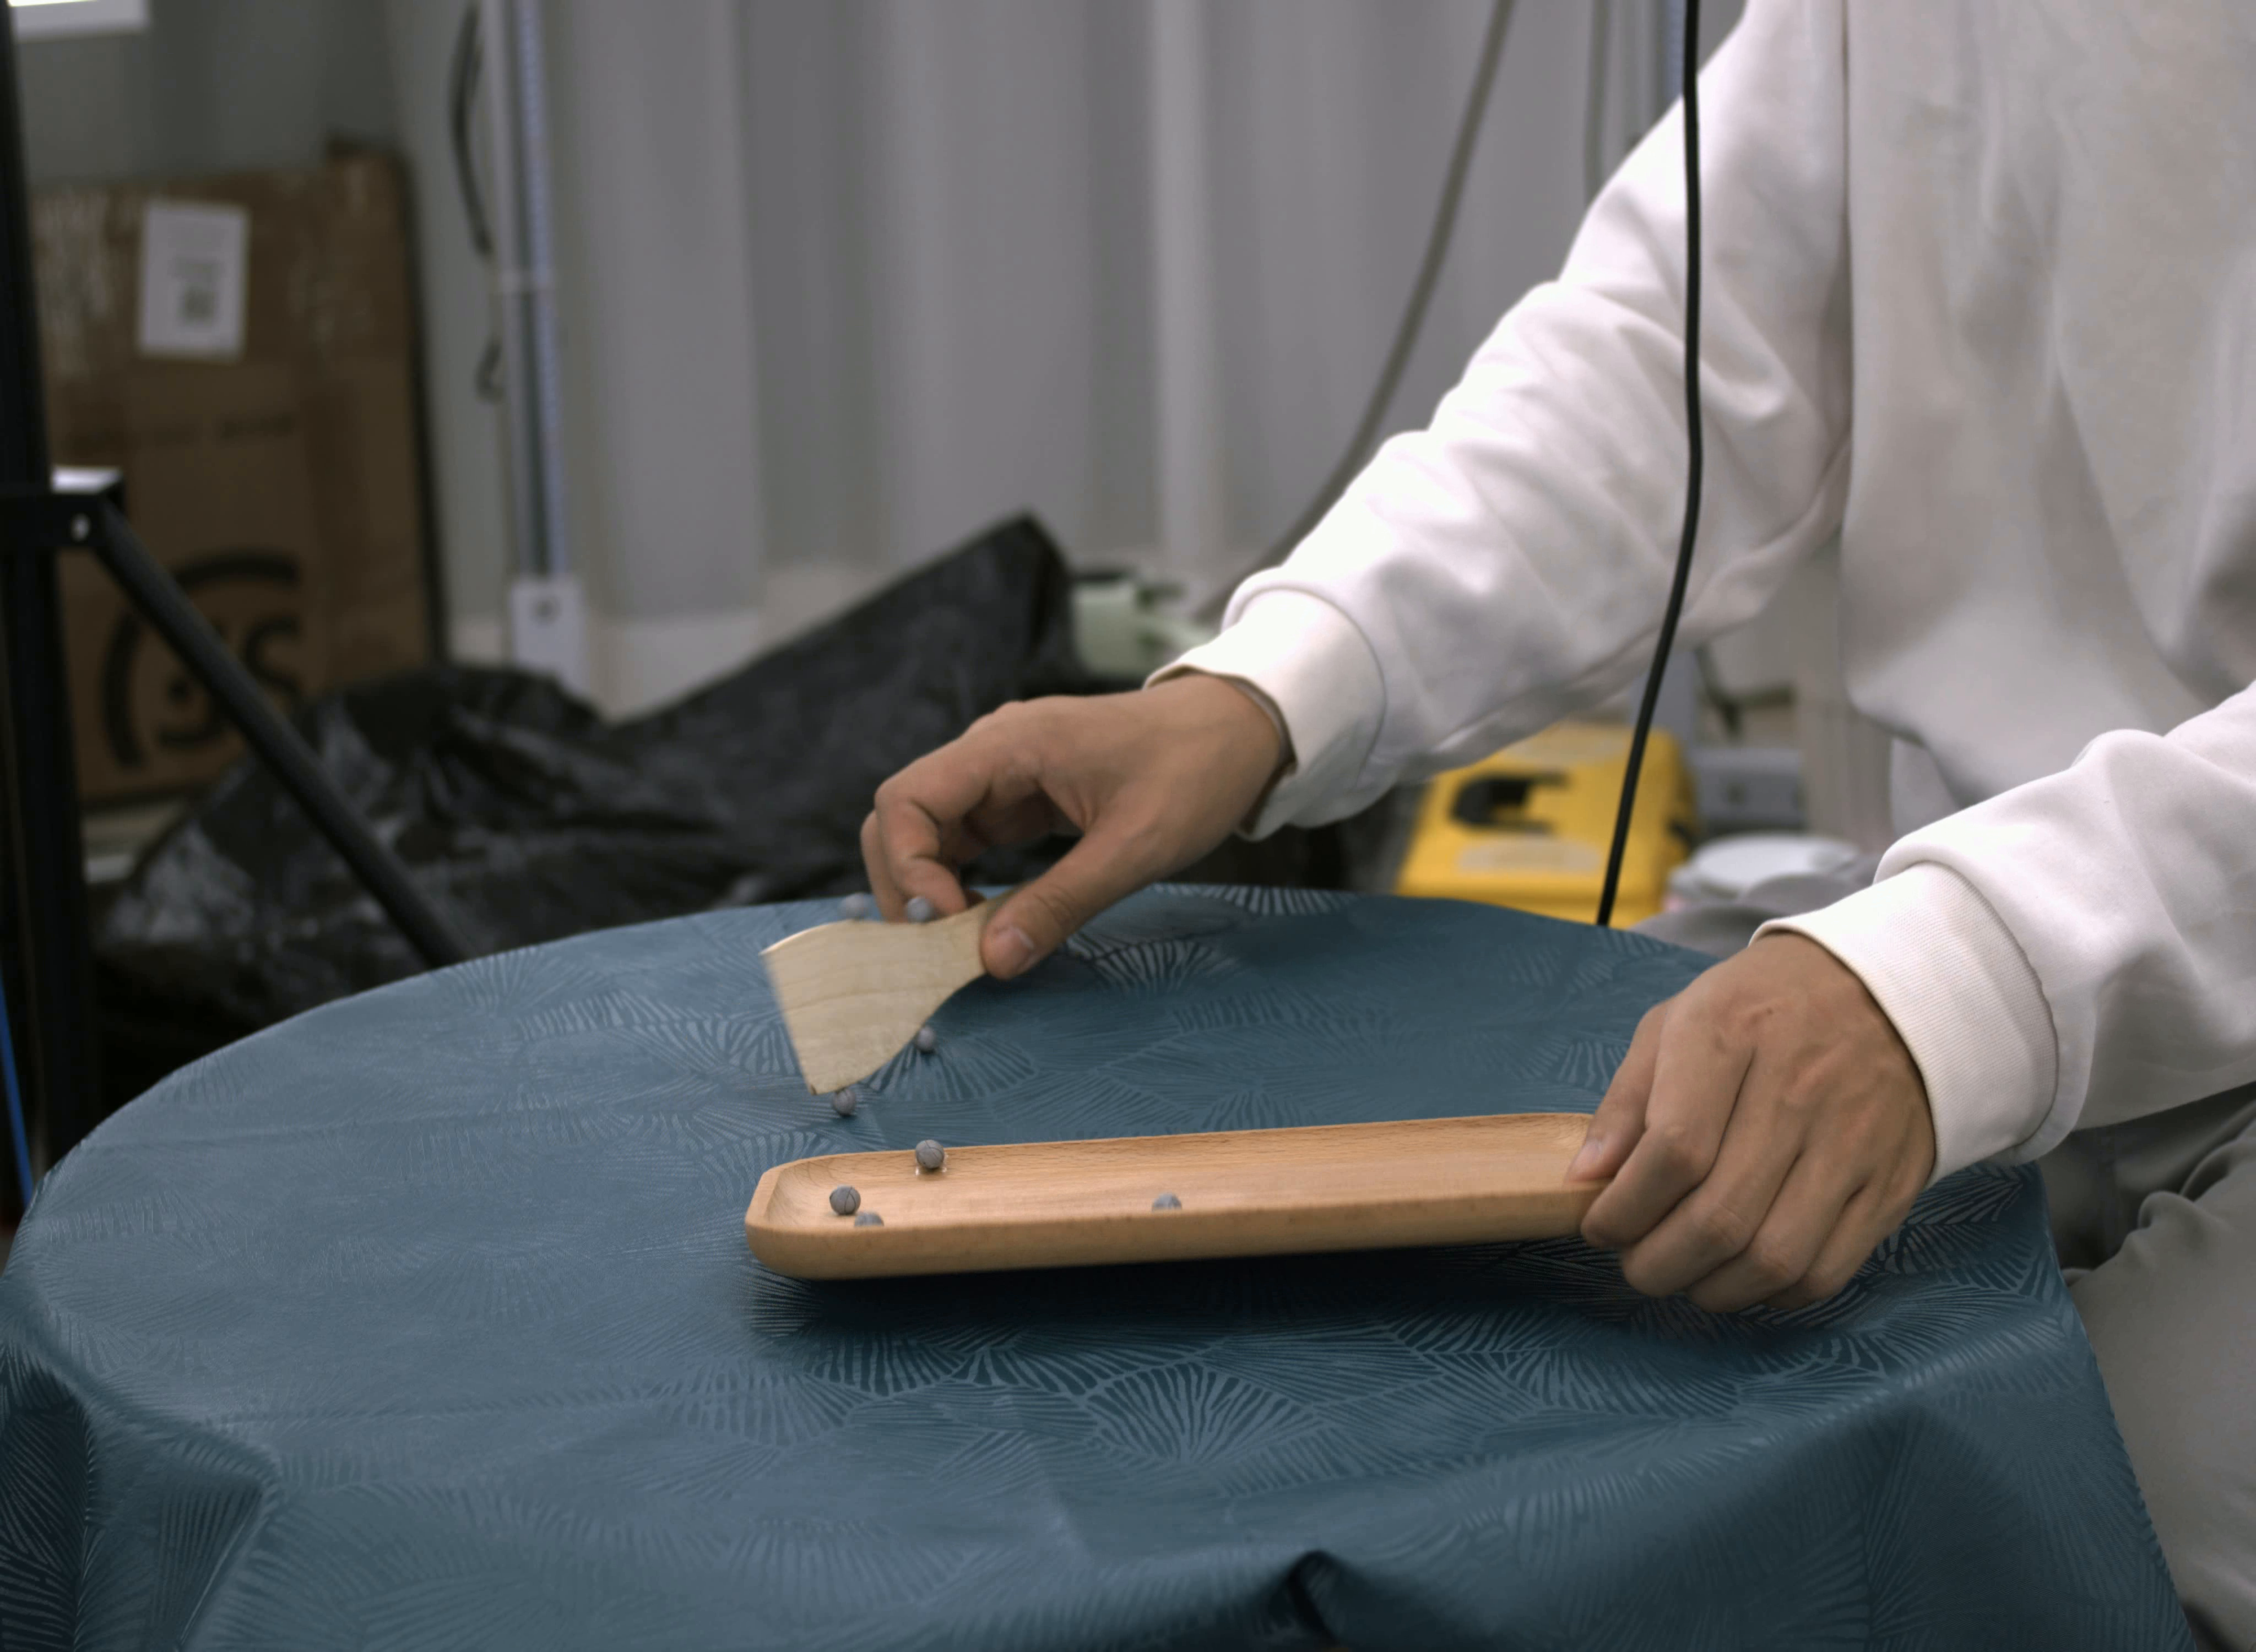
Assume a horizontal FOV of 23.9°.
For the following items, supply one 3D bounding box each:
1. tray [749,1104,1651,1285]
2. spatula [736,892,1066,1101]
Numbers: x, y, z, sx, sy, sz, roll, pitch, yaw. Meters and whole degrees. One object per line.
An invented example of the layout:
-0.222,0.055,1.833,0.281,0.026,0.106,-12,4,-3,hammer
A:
0.020,0.104,1.500,0.250,0.023,0.130,-3,10,3,tray
-0.067,0.048,1.709,0.005,0.051,0.204,-25,-3,27,spatula
